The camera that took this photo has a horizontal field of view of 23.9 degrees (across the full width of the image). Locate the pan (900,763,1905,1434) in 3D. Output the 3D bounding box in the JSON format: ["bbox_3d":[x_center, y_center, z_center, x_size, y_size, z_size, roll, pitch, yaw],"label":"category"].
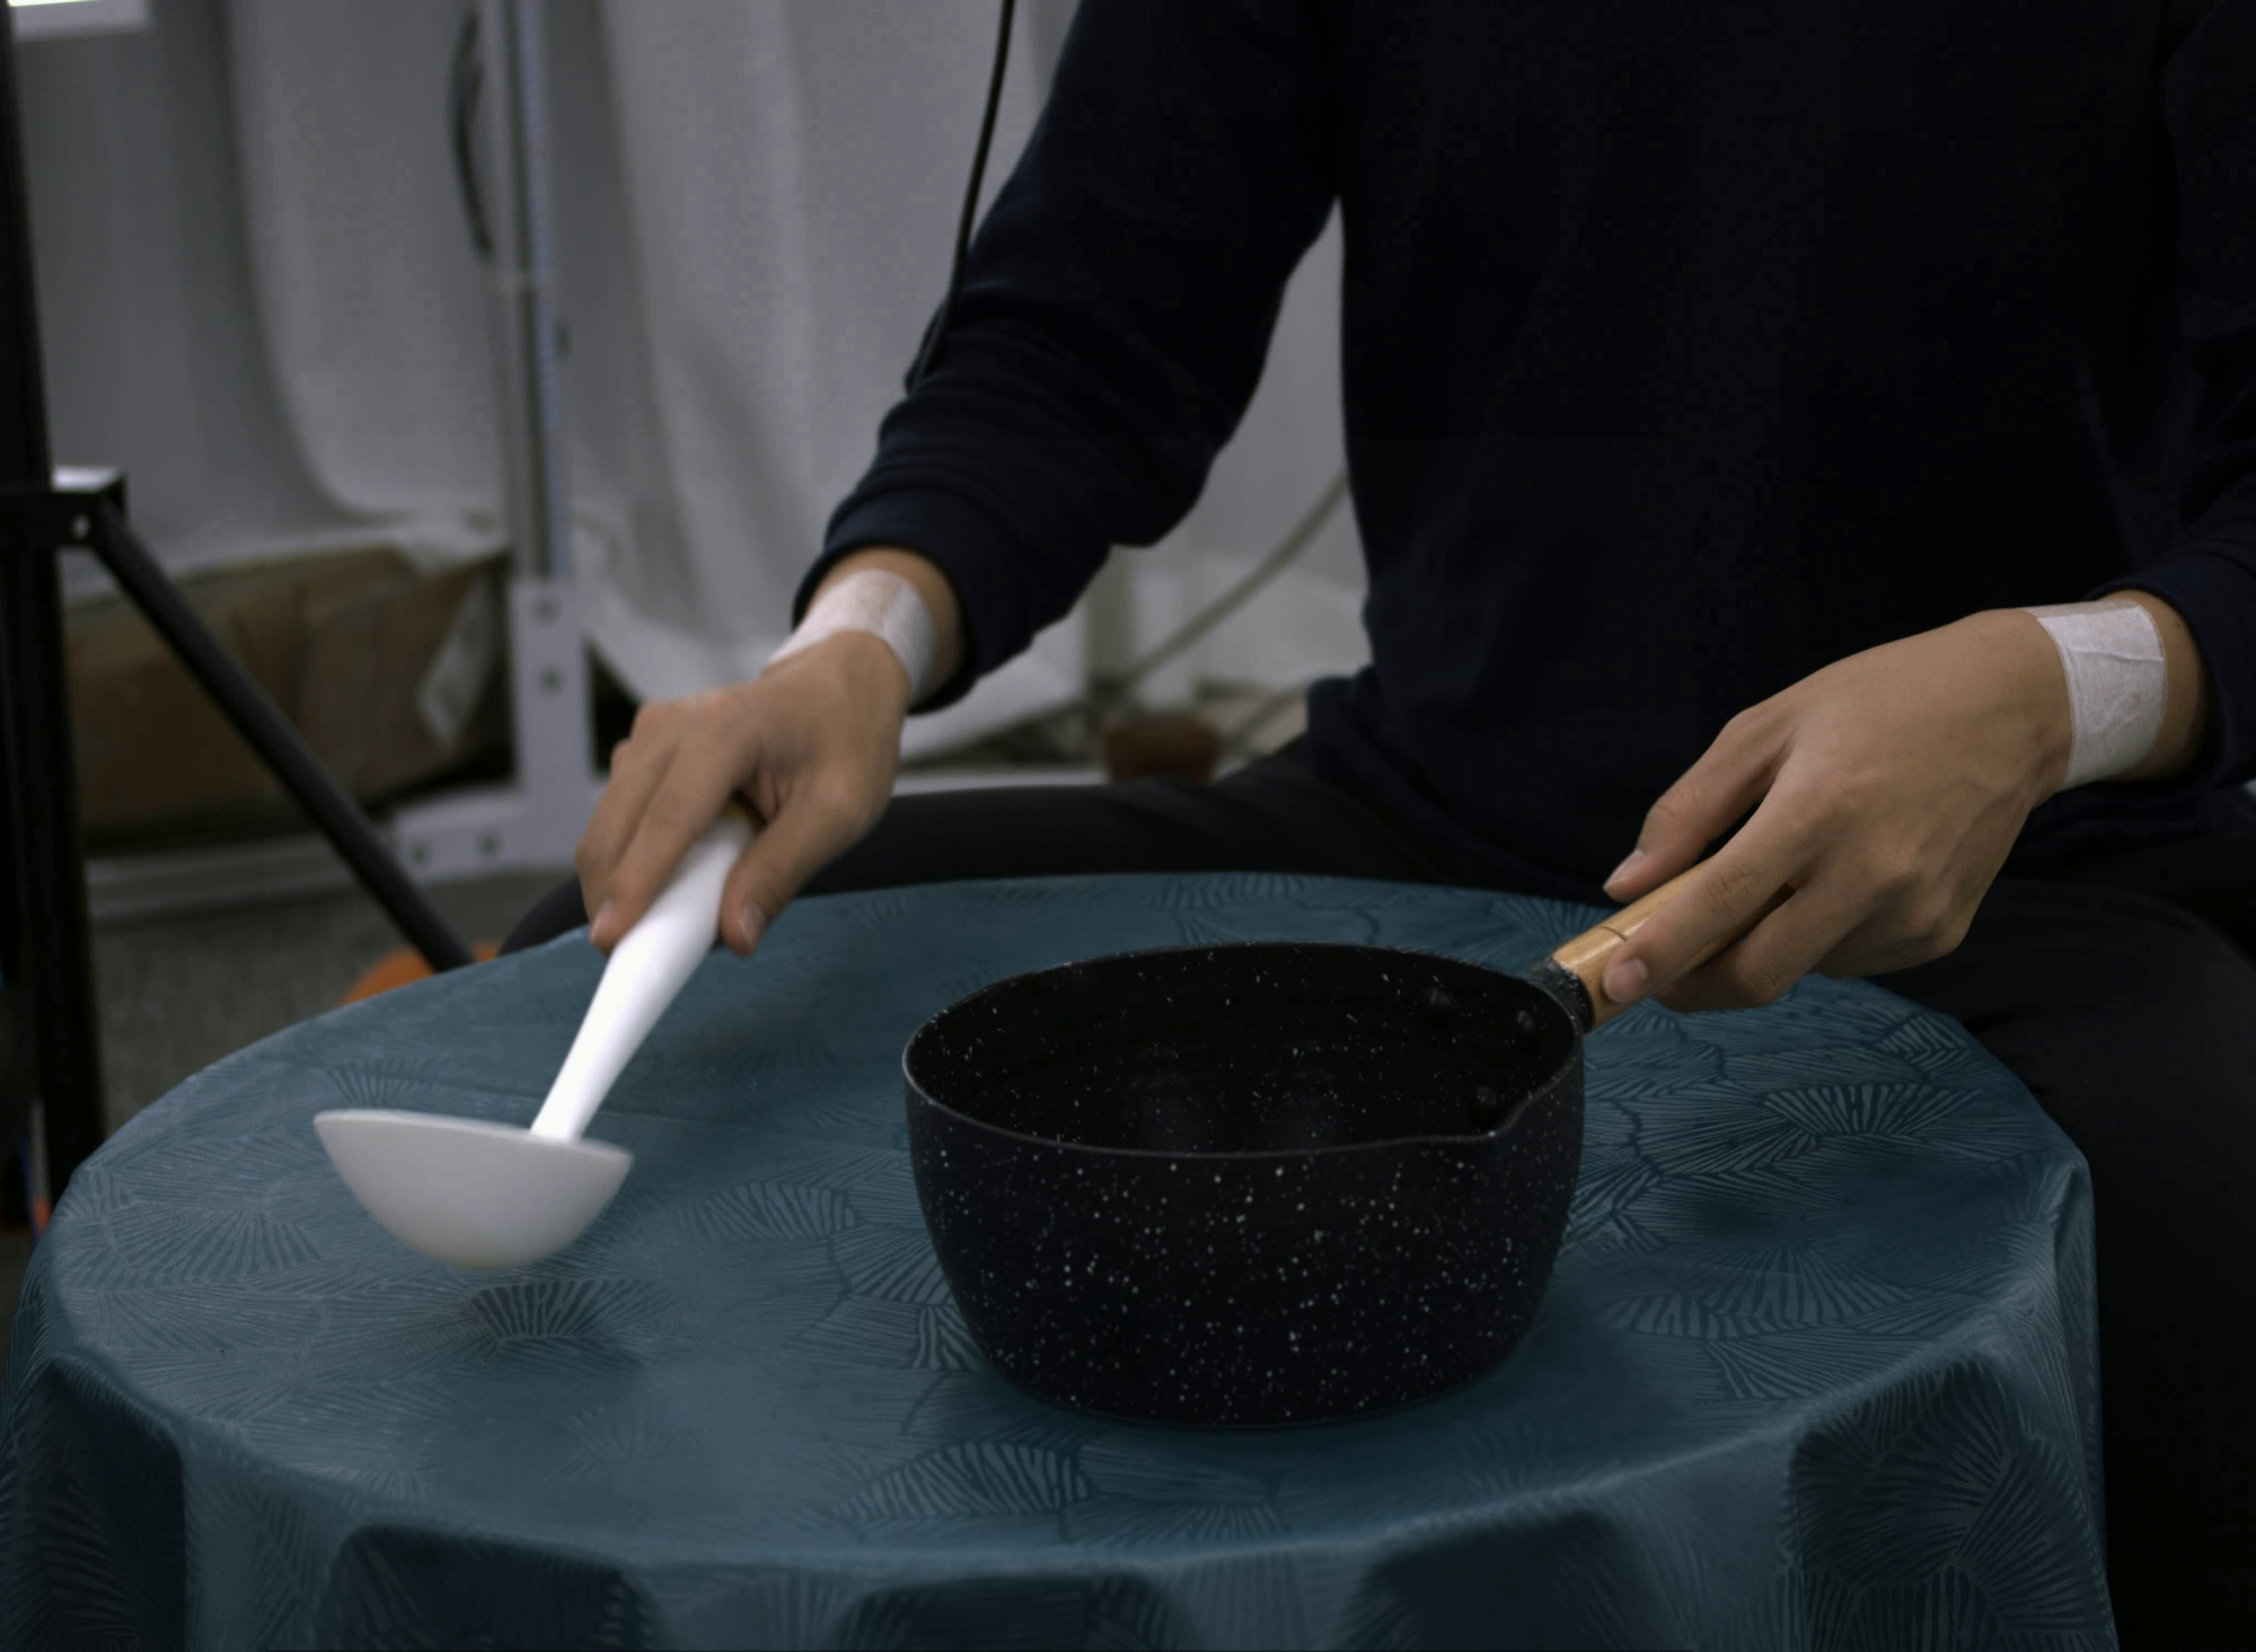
[{"bbox_3d":[0.092,0.070,1.477,0.335,0.108,0.212,-17,20,-36],"label":"pan"}]

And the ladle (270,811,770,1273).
[{"bbox_3d":[-0.165,0.050,1.579,0.091,0.069,0.291,-1,24,15],"label":"ladle"}]
